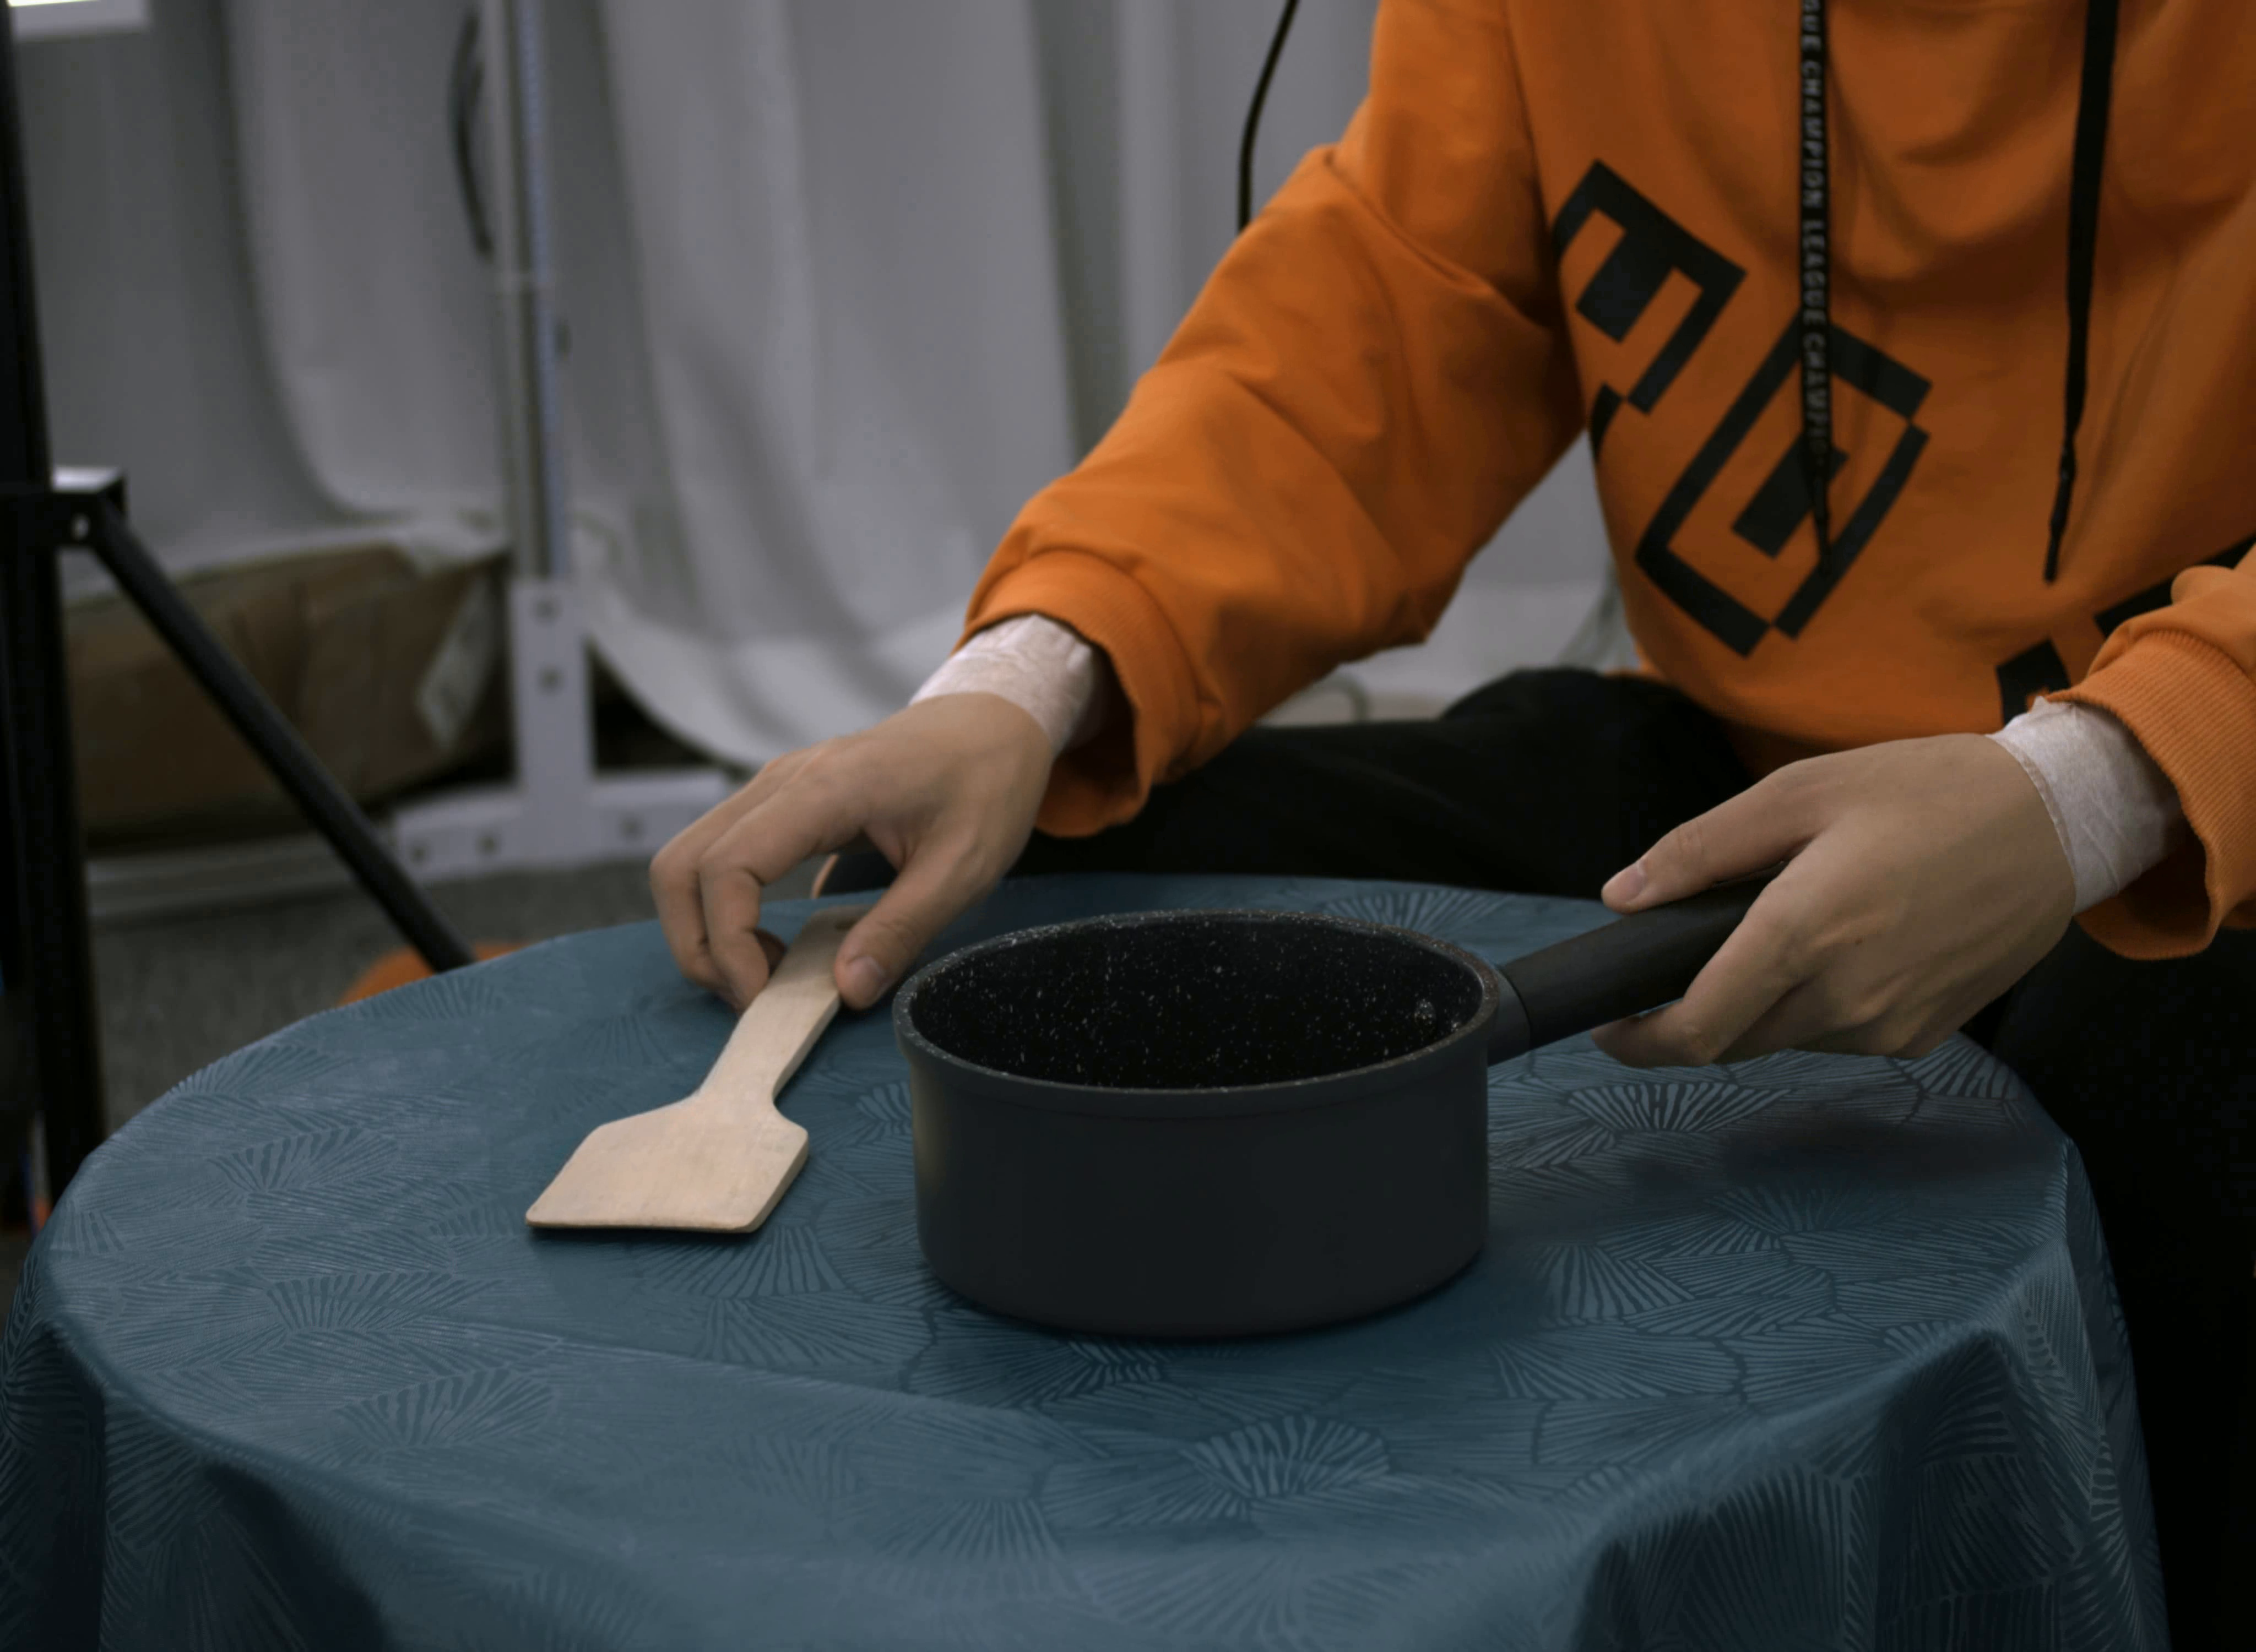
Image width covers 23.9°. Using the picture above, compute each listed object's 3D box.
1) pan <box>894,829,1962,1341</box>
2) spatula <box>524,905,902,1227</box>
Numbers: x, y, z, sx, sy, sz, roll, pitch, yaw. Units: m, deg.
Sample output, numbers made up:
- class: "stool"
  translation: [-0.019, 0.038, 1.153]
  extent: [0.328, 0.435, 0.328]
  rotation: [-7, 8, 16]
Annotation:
- class: "pan"
  translation: [0.093, 0.069, 1.525]
  extent: [0.323, 0.086, 0.175]
  rotation: [-10, 18, -20]
- class: "spatula"
  translation: [-0.117, 0.074, 1.675]
  extent: [0.072, 0.010, 0.291]
  rotation: [-2, 17, 12]
